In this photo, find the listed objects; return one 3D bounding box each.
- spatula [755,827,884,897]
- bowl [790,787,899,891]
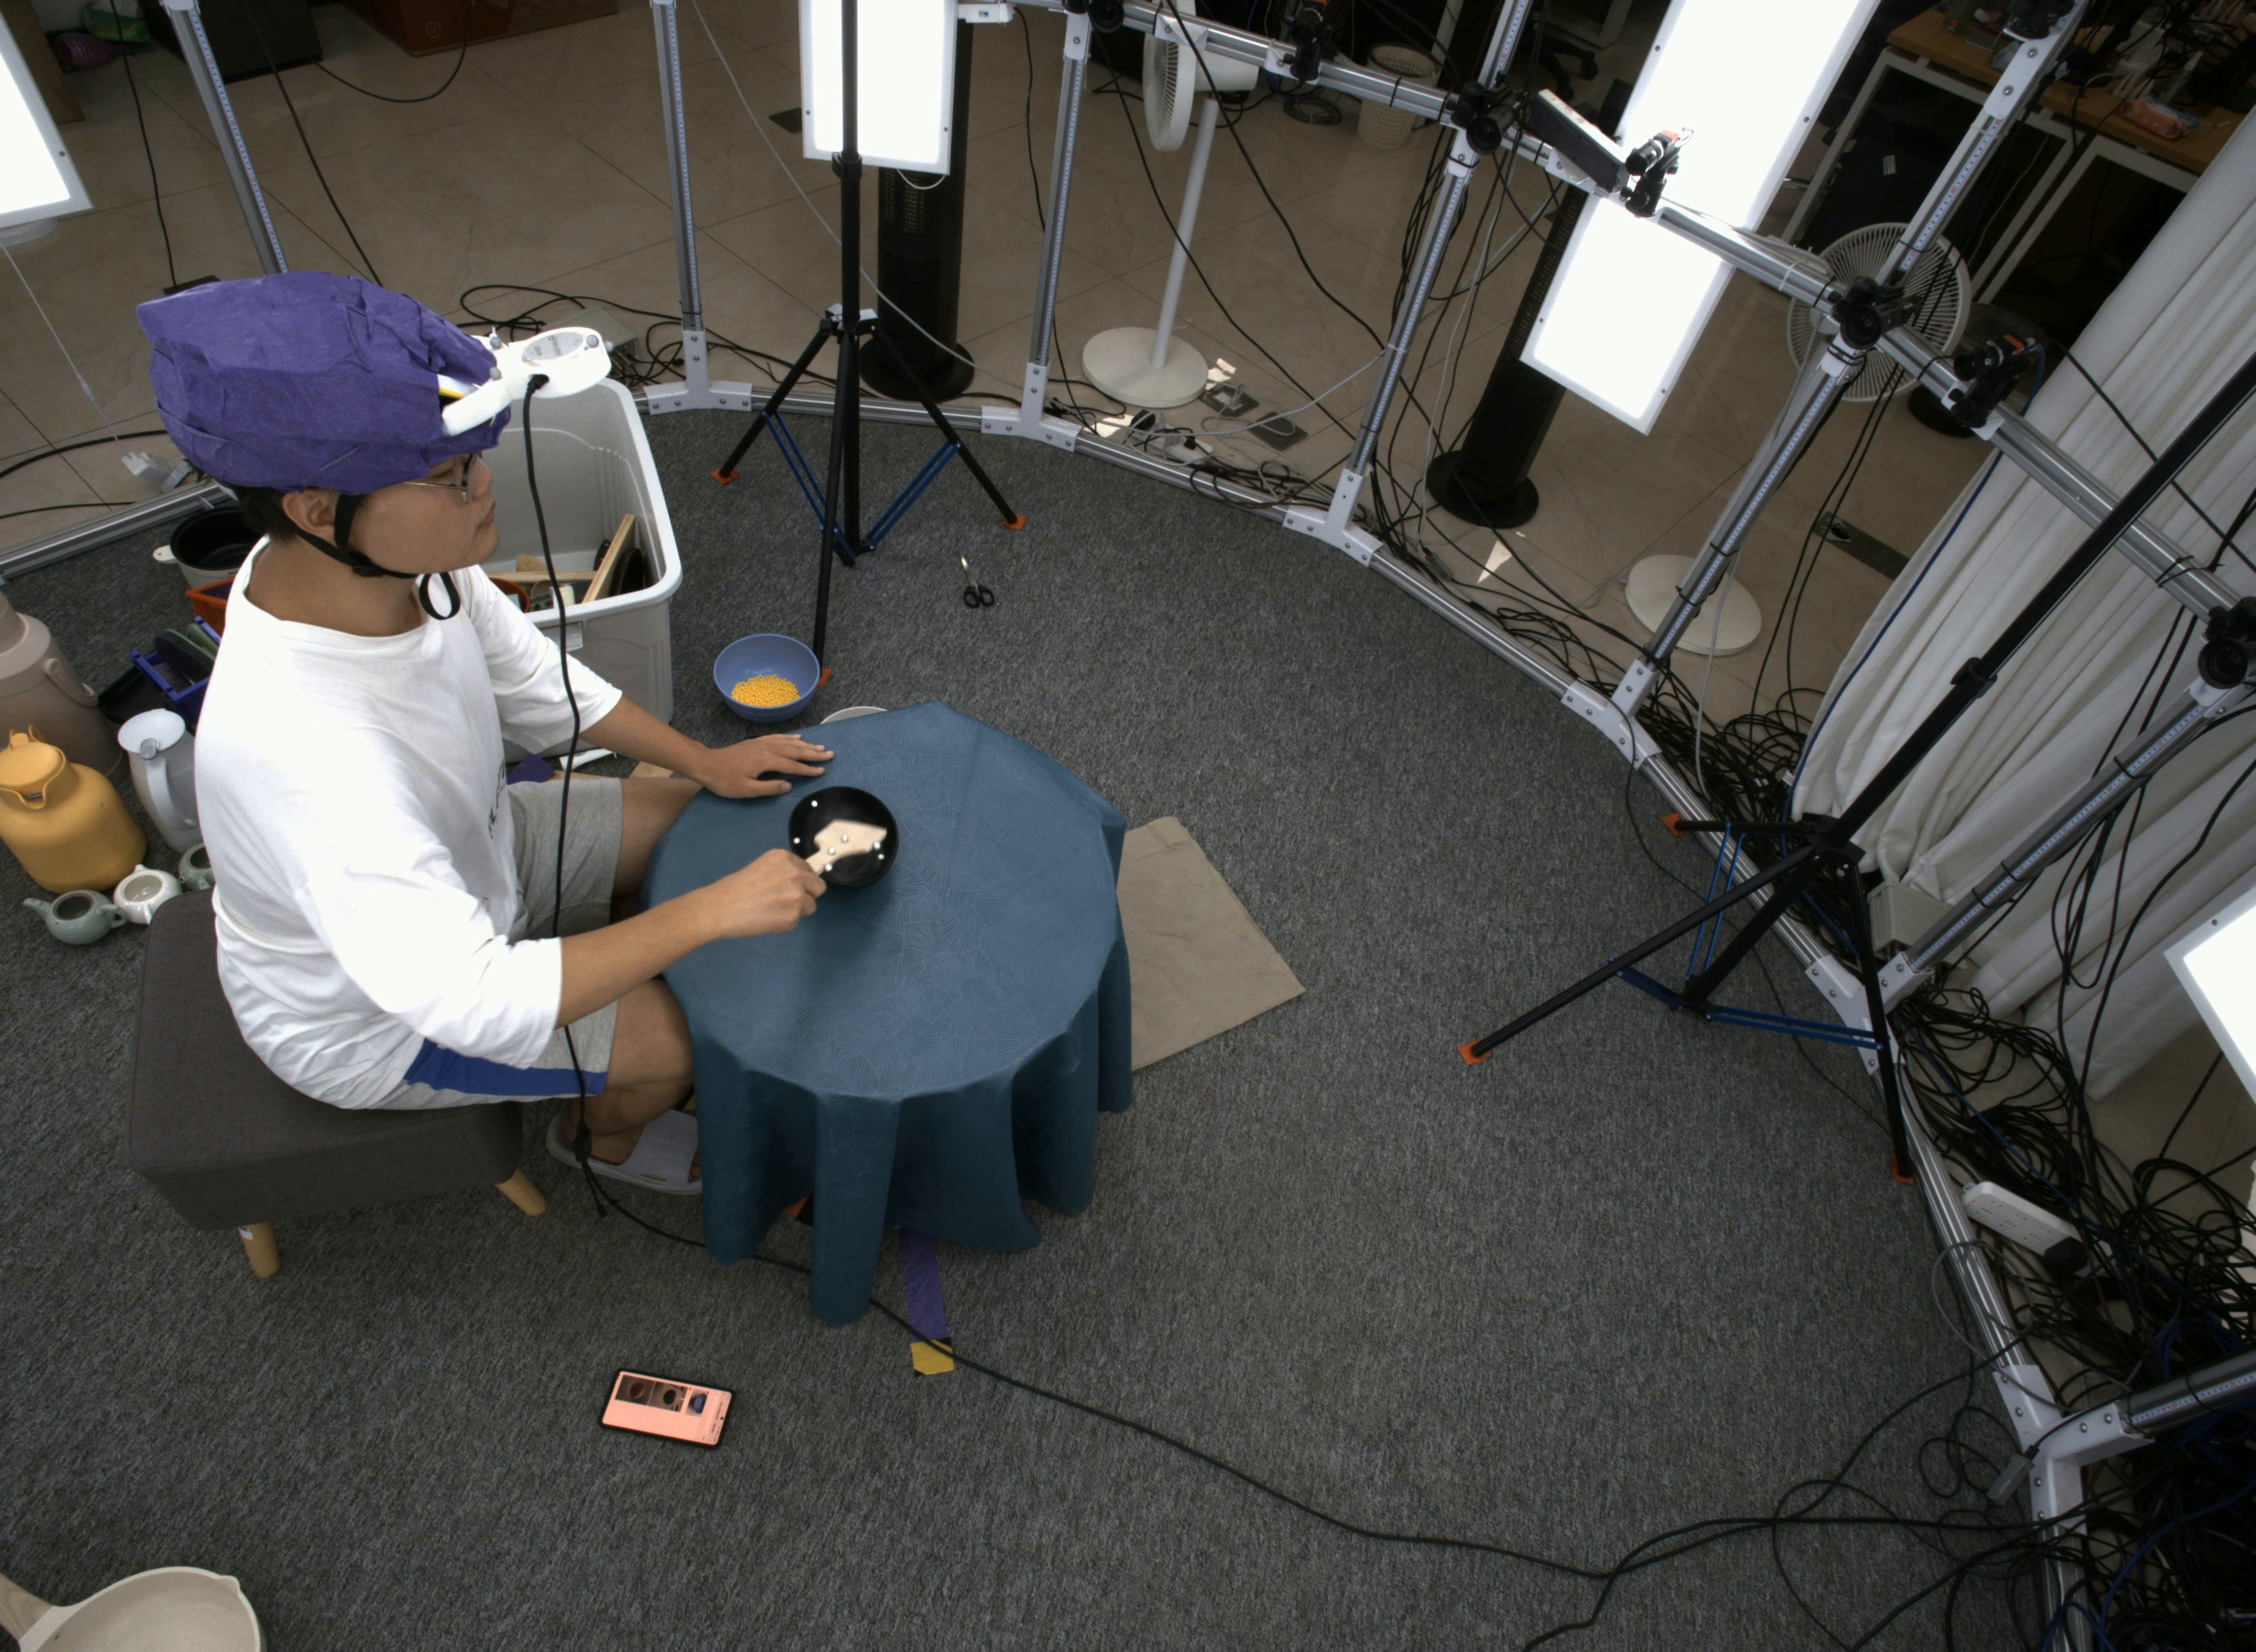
[{"bbox_3d":[-0.355,0.039,1.481,0.071,0.011,0.291,11,13,5],"label":"spatula"},{"bbox_3d":[-0.369,0.024,1.689,0.138,0.068,0.166,-14,57,-21],"label":"bowl"}]
